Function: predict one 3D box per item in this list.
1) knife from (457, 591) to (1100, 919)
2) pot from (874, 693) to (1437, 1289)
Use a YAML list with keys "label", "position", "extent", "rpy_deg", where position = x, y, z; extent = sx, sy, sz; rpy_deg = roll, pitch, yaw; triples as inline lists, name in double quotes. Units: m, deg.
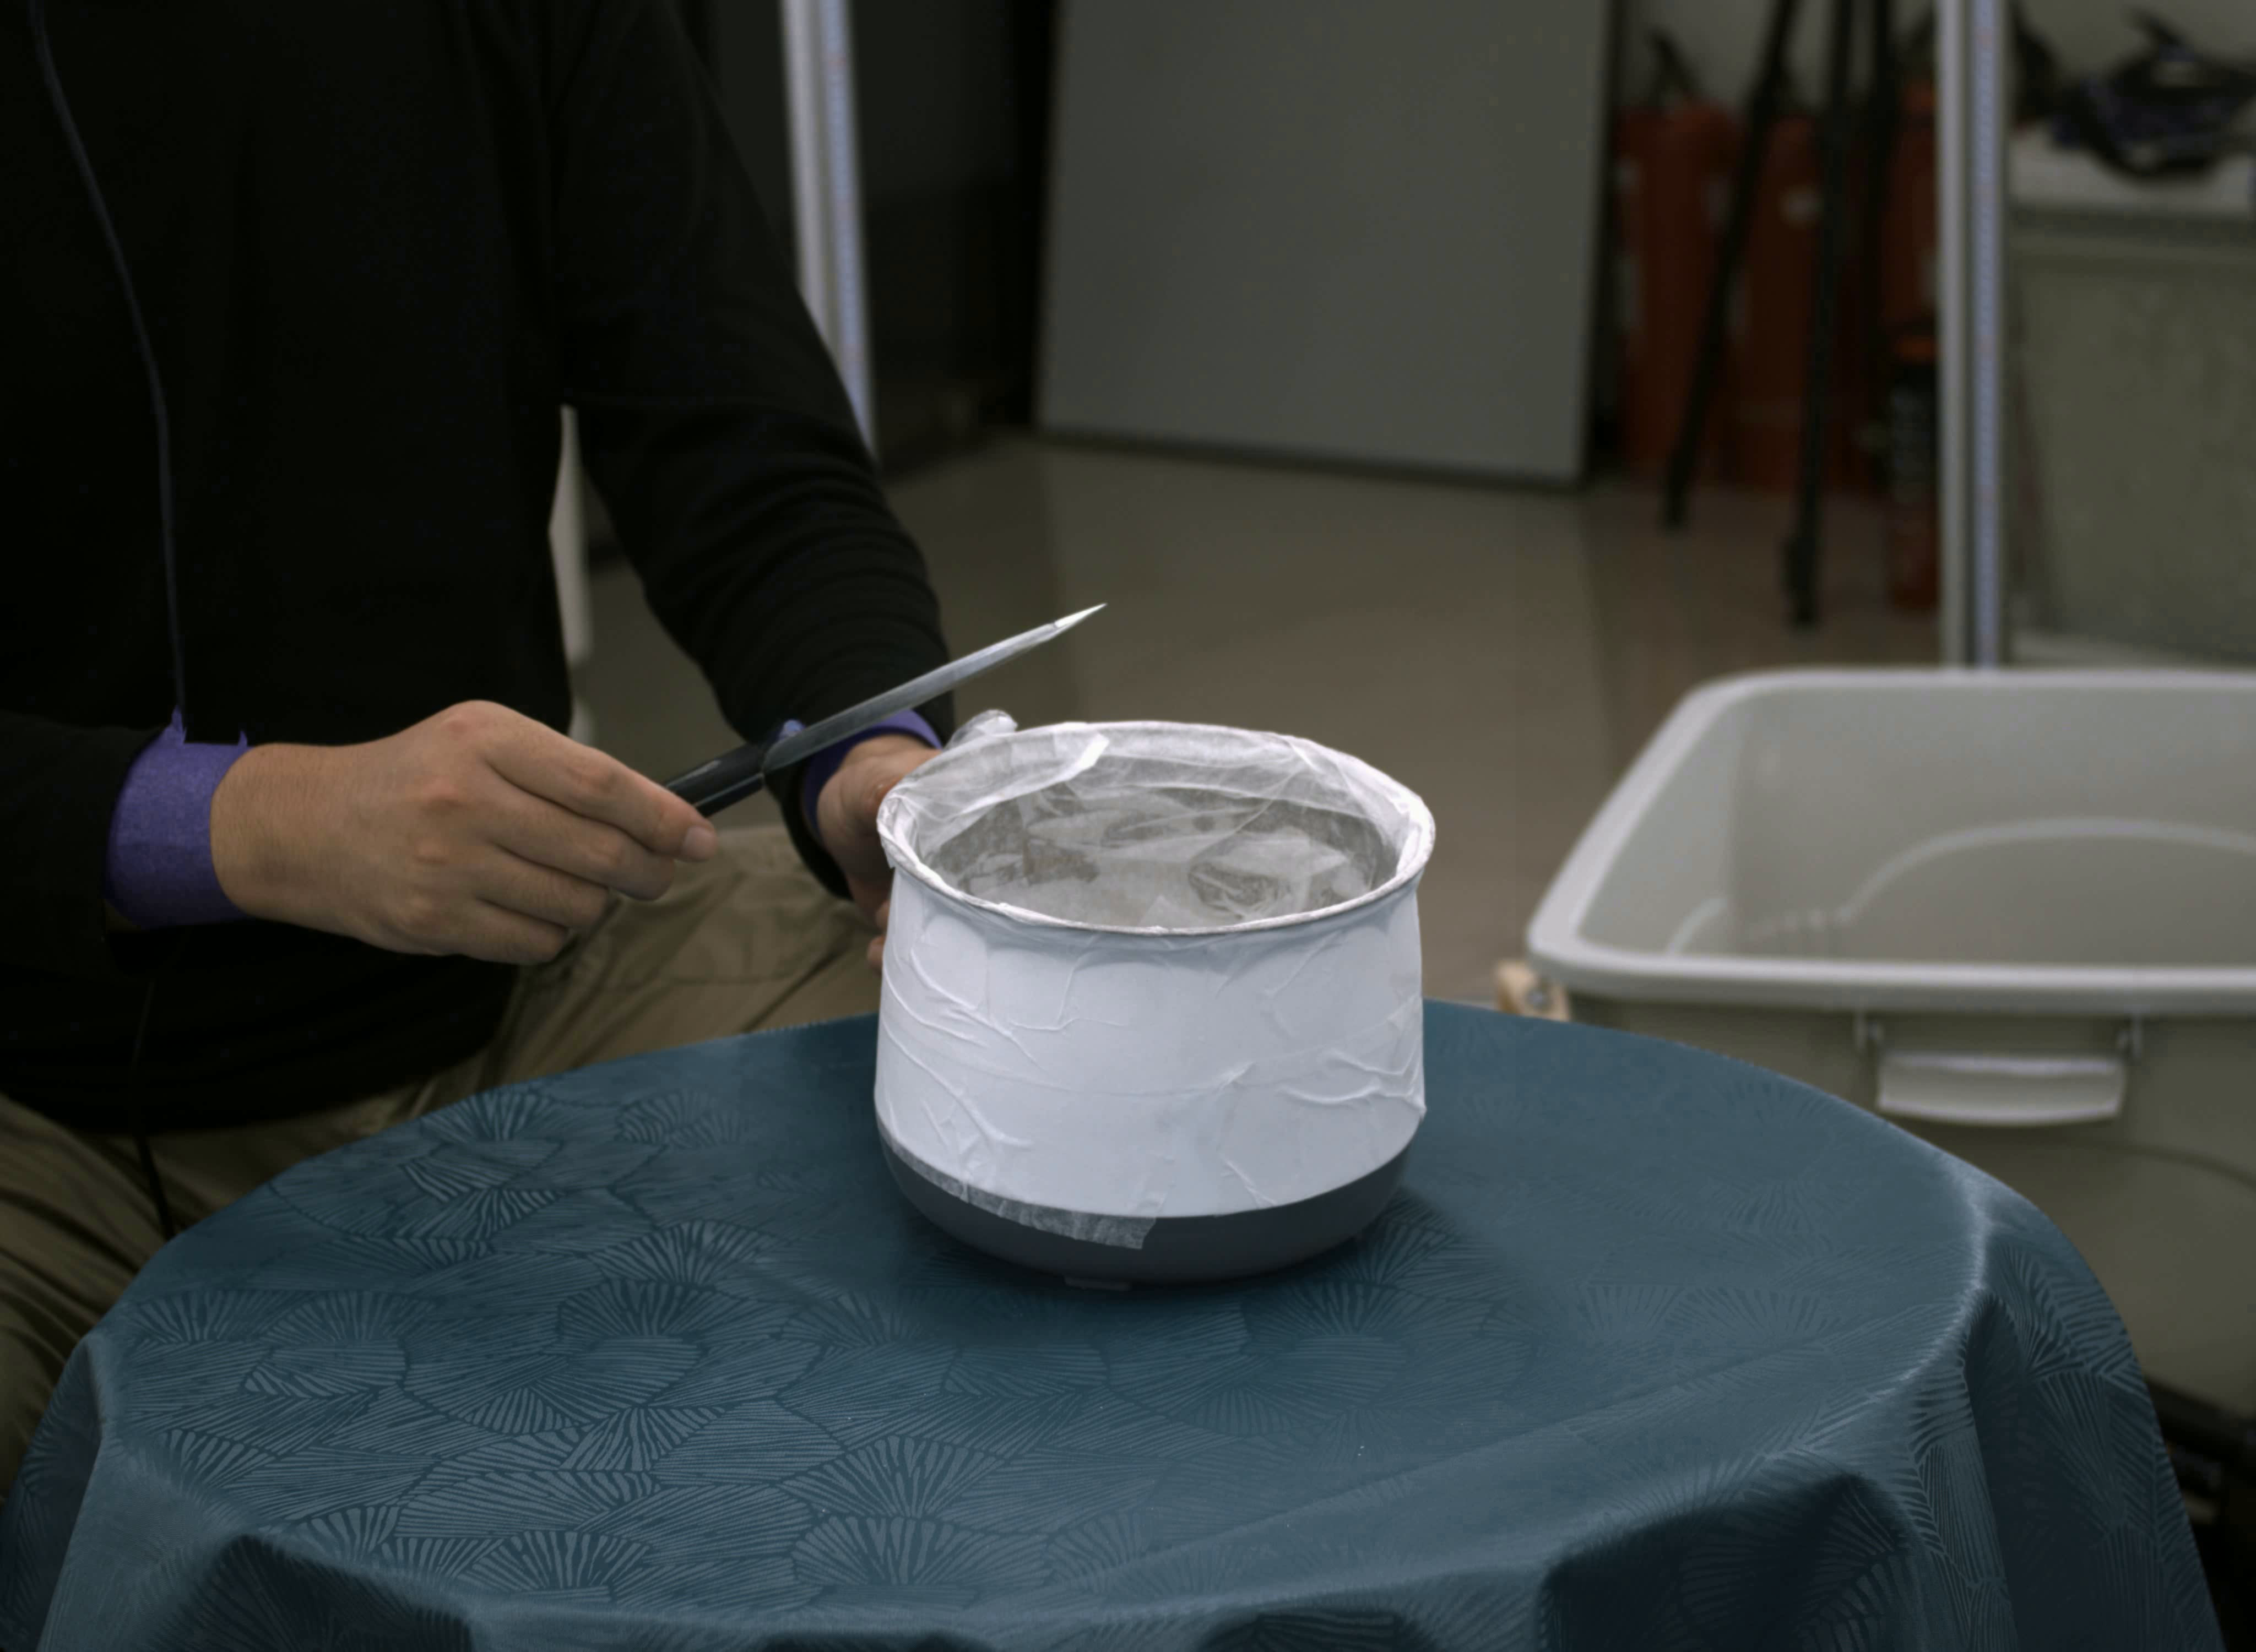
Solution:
- label: "knife"
  position: [-0.113, -0.023, 1.741]
  extent: [0.237, 0.016, 0.024]
  rpy_deg: [-25, 21, 13]
- label: "pot"
  position: [-0.008, 0.045, 1.737]
  extent: [0.175, 0.138, 0.236]
  rpy_deg: [-12, 26, -31]
